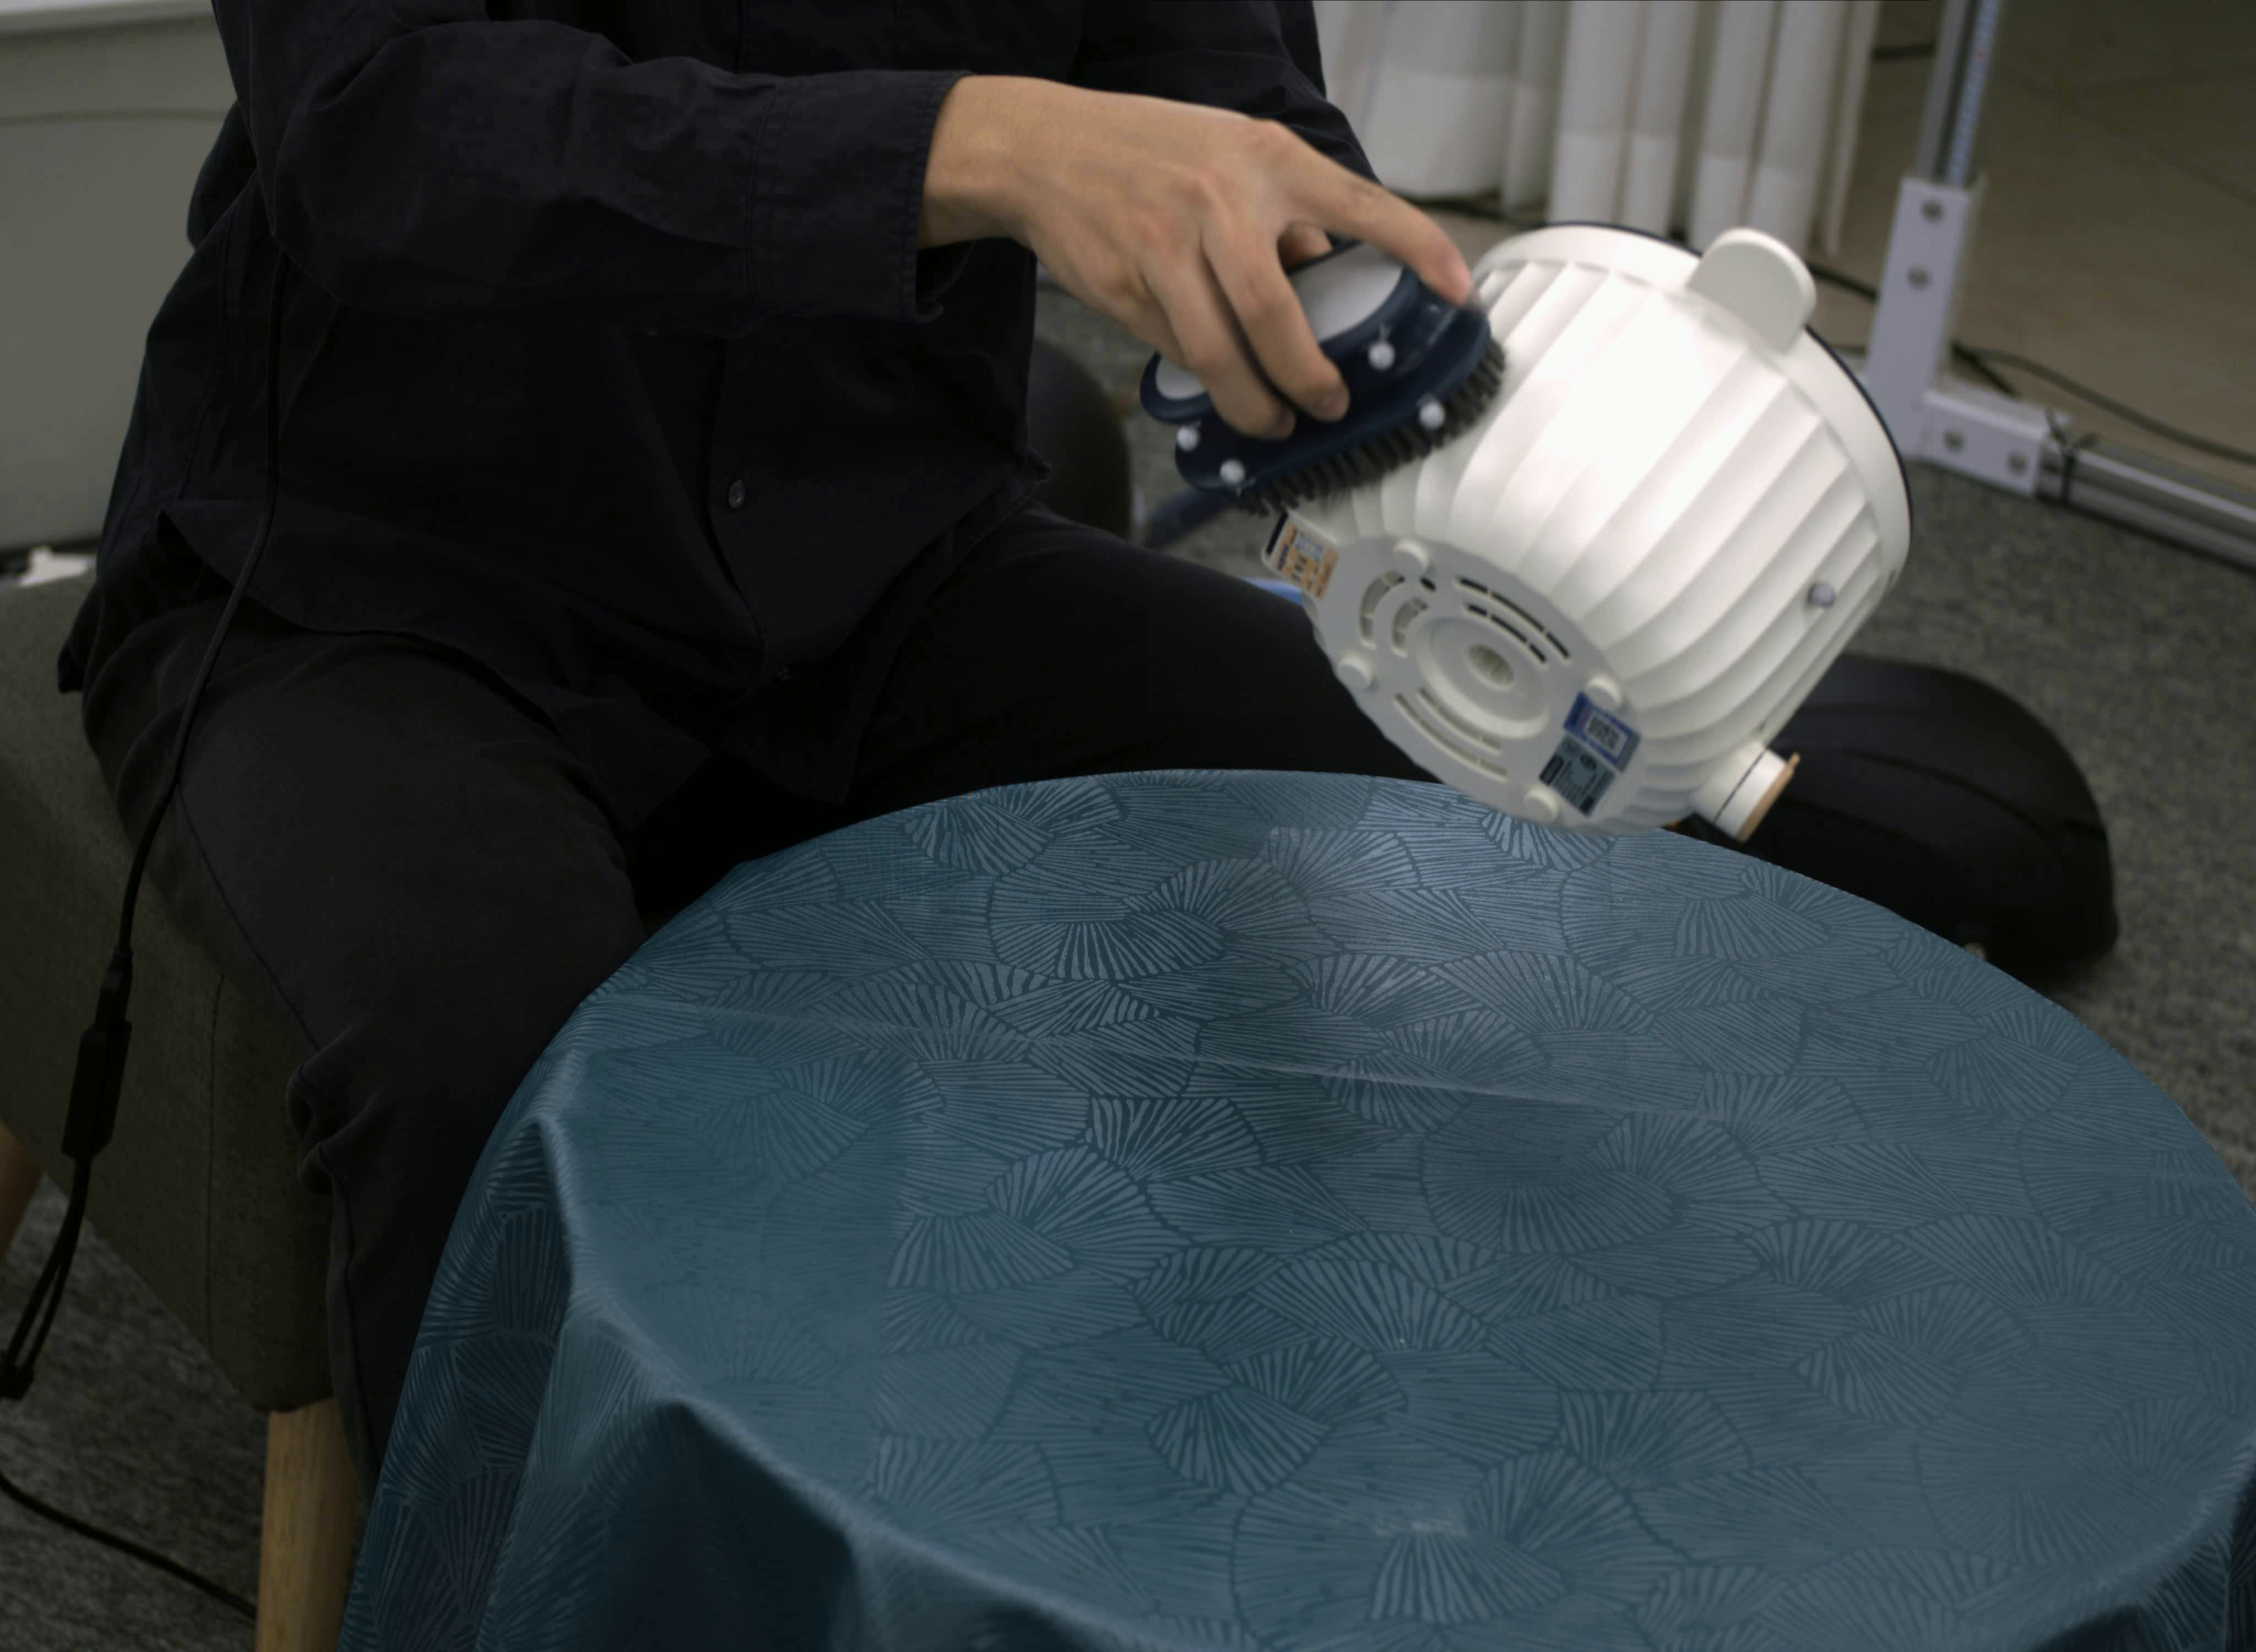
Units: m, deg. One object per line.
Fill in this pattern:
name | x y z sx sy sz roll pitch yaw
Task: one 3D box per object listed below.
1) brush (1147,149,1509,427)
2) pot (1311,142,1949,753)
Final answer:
brush | 0.068 -0.176 1.768 0.122 0.060 0.068 -16 44 29
pot | 0.175 -0.119 1.834 0.190 0.239 0.143 34 61 6
